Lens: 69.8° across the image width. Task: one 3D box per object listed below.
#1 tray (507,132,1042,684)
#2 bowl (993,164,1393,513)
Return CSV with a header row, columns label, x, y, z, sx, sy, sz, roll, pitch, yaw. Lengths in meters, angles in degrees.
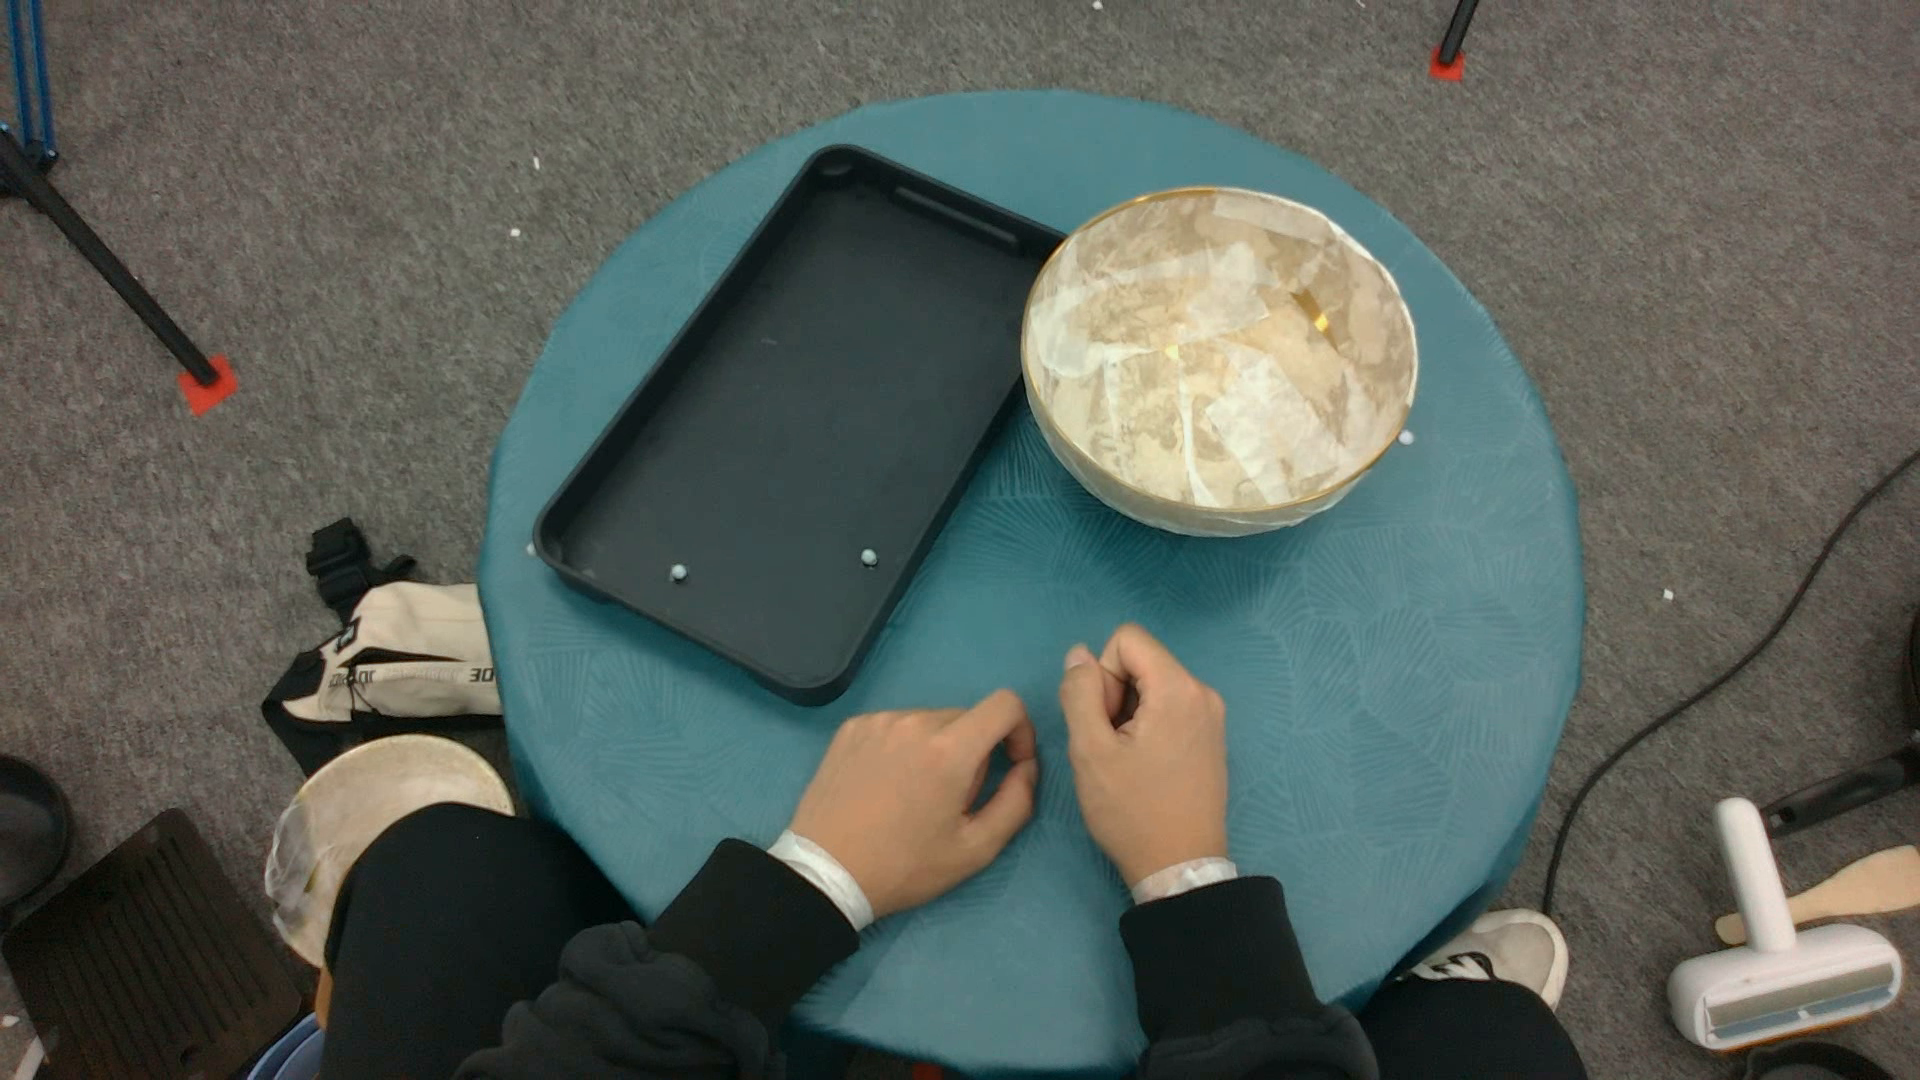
label,x,y,z,sx,sy,sz,roll,pitch,yaw
tray,-0.085,-0.086,0.765,0.184,0.037,0.319,26,64,12
bowl,0.115,-0.095,0.742,0.215,0.094,0.215,1,64,-3
